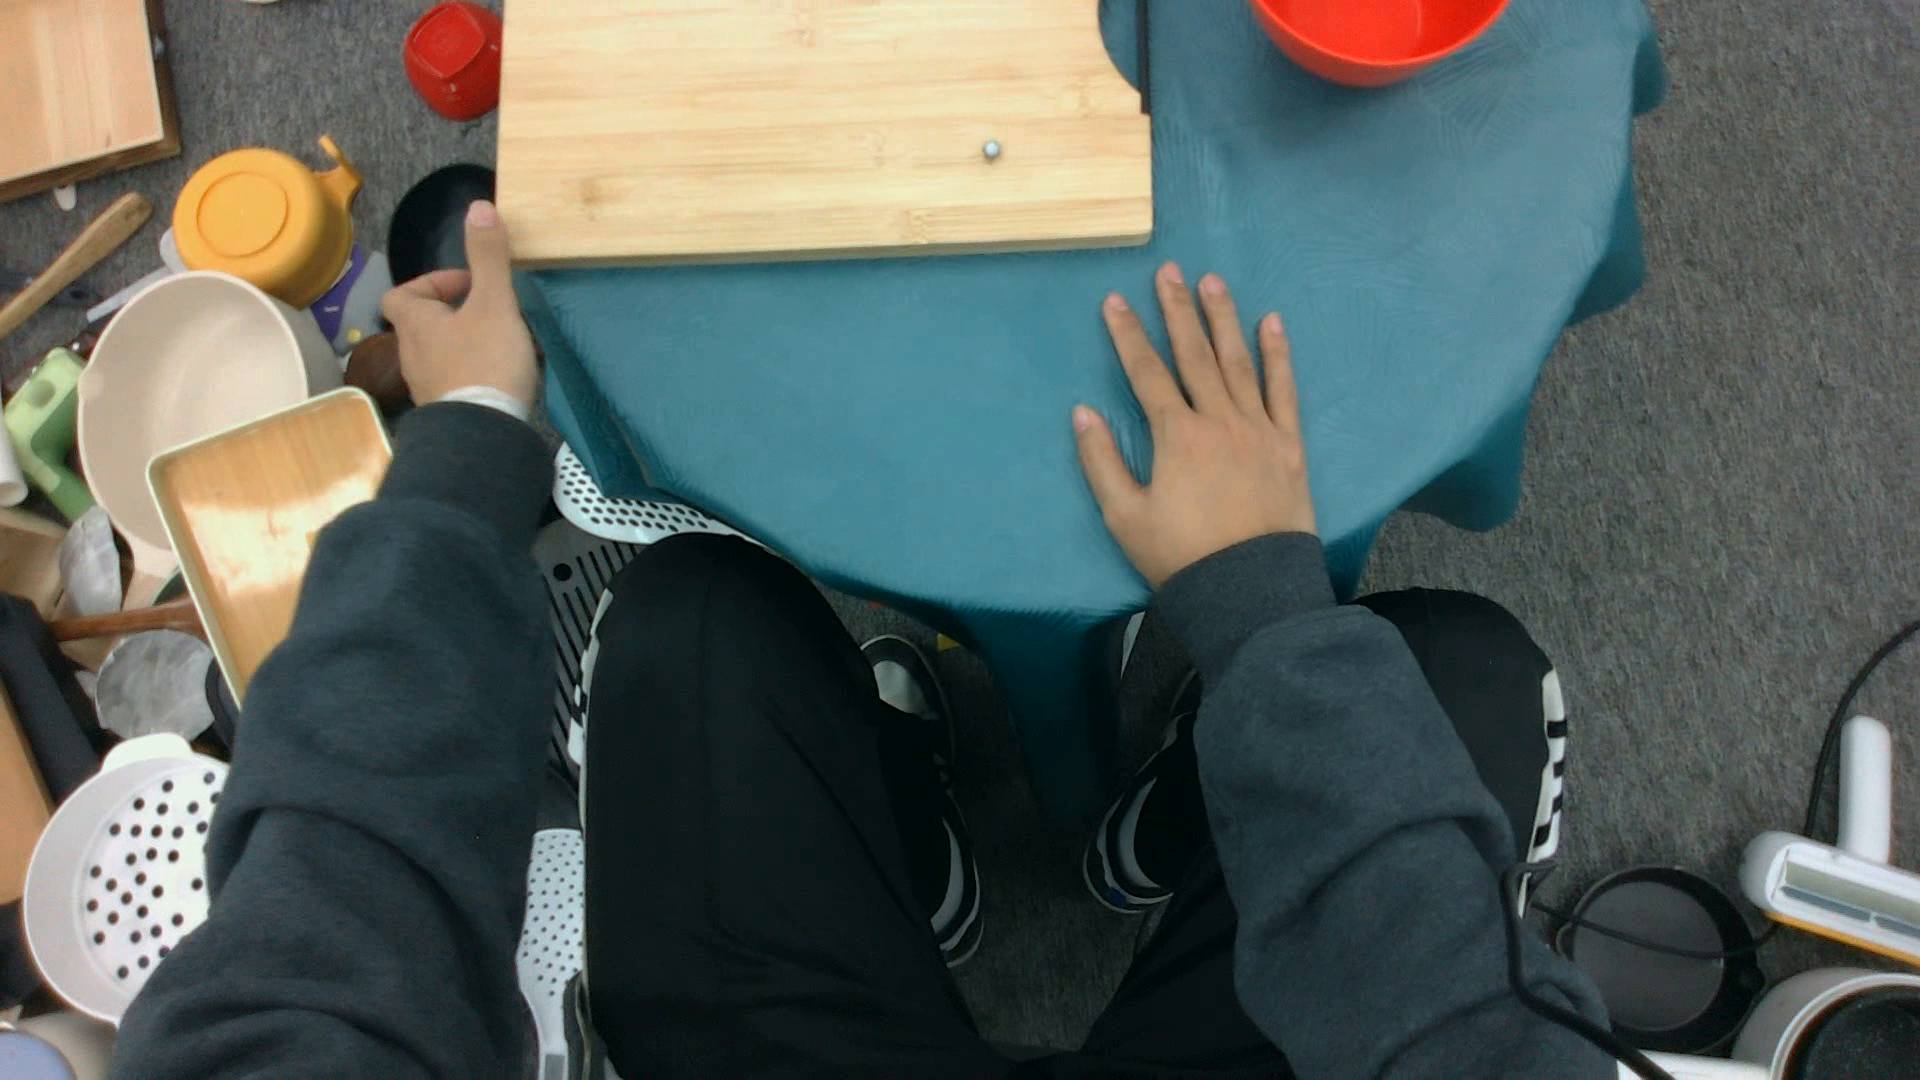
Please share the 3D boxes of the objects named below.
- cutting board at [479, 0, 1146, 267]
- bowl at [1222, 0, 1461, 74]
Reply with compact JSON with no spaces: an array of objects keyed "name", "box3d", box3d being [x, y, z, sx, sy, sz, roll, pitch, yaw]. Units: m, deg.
[{"name":"cutting board","box3d":[-0.081,-0.271,0.732,0.348,0.023,0.251,-3,82,3]},{"name":"bowl","box3d":[0.180,-0.295,0.679,0.148,0.104,0.148,0,80,2]}]
